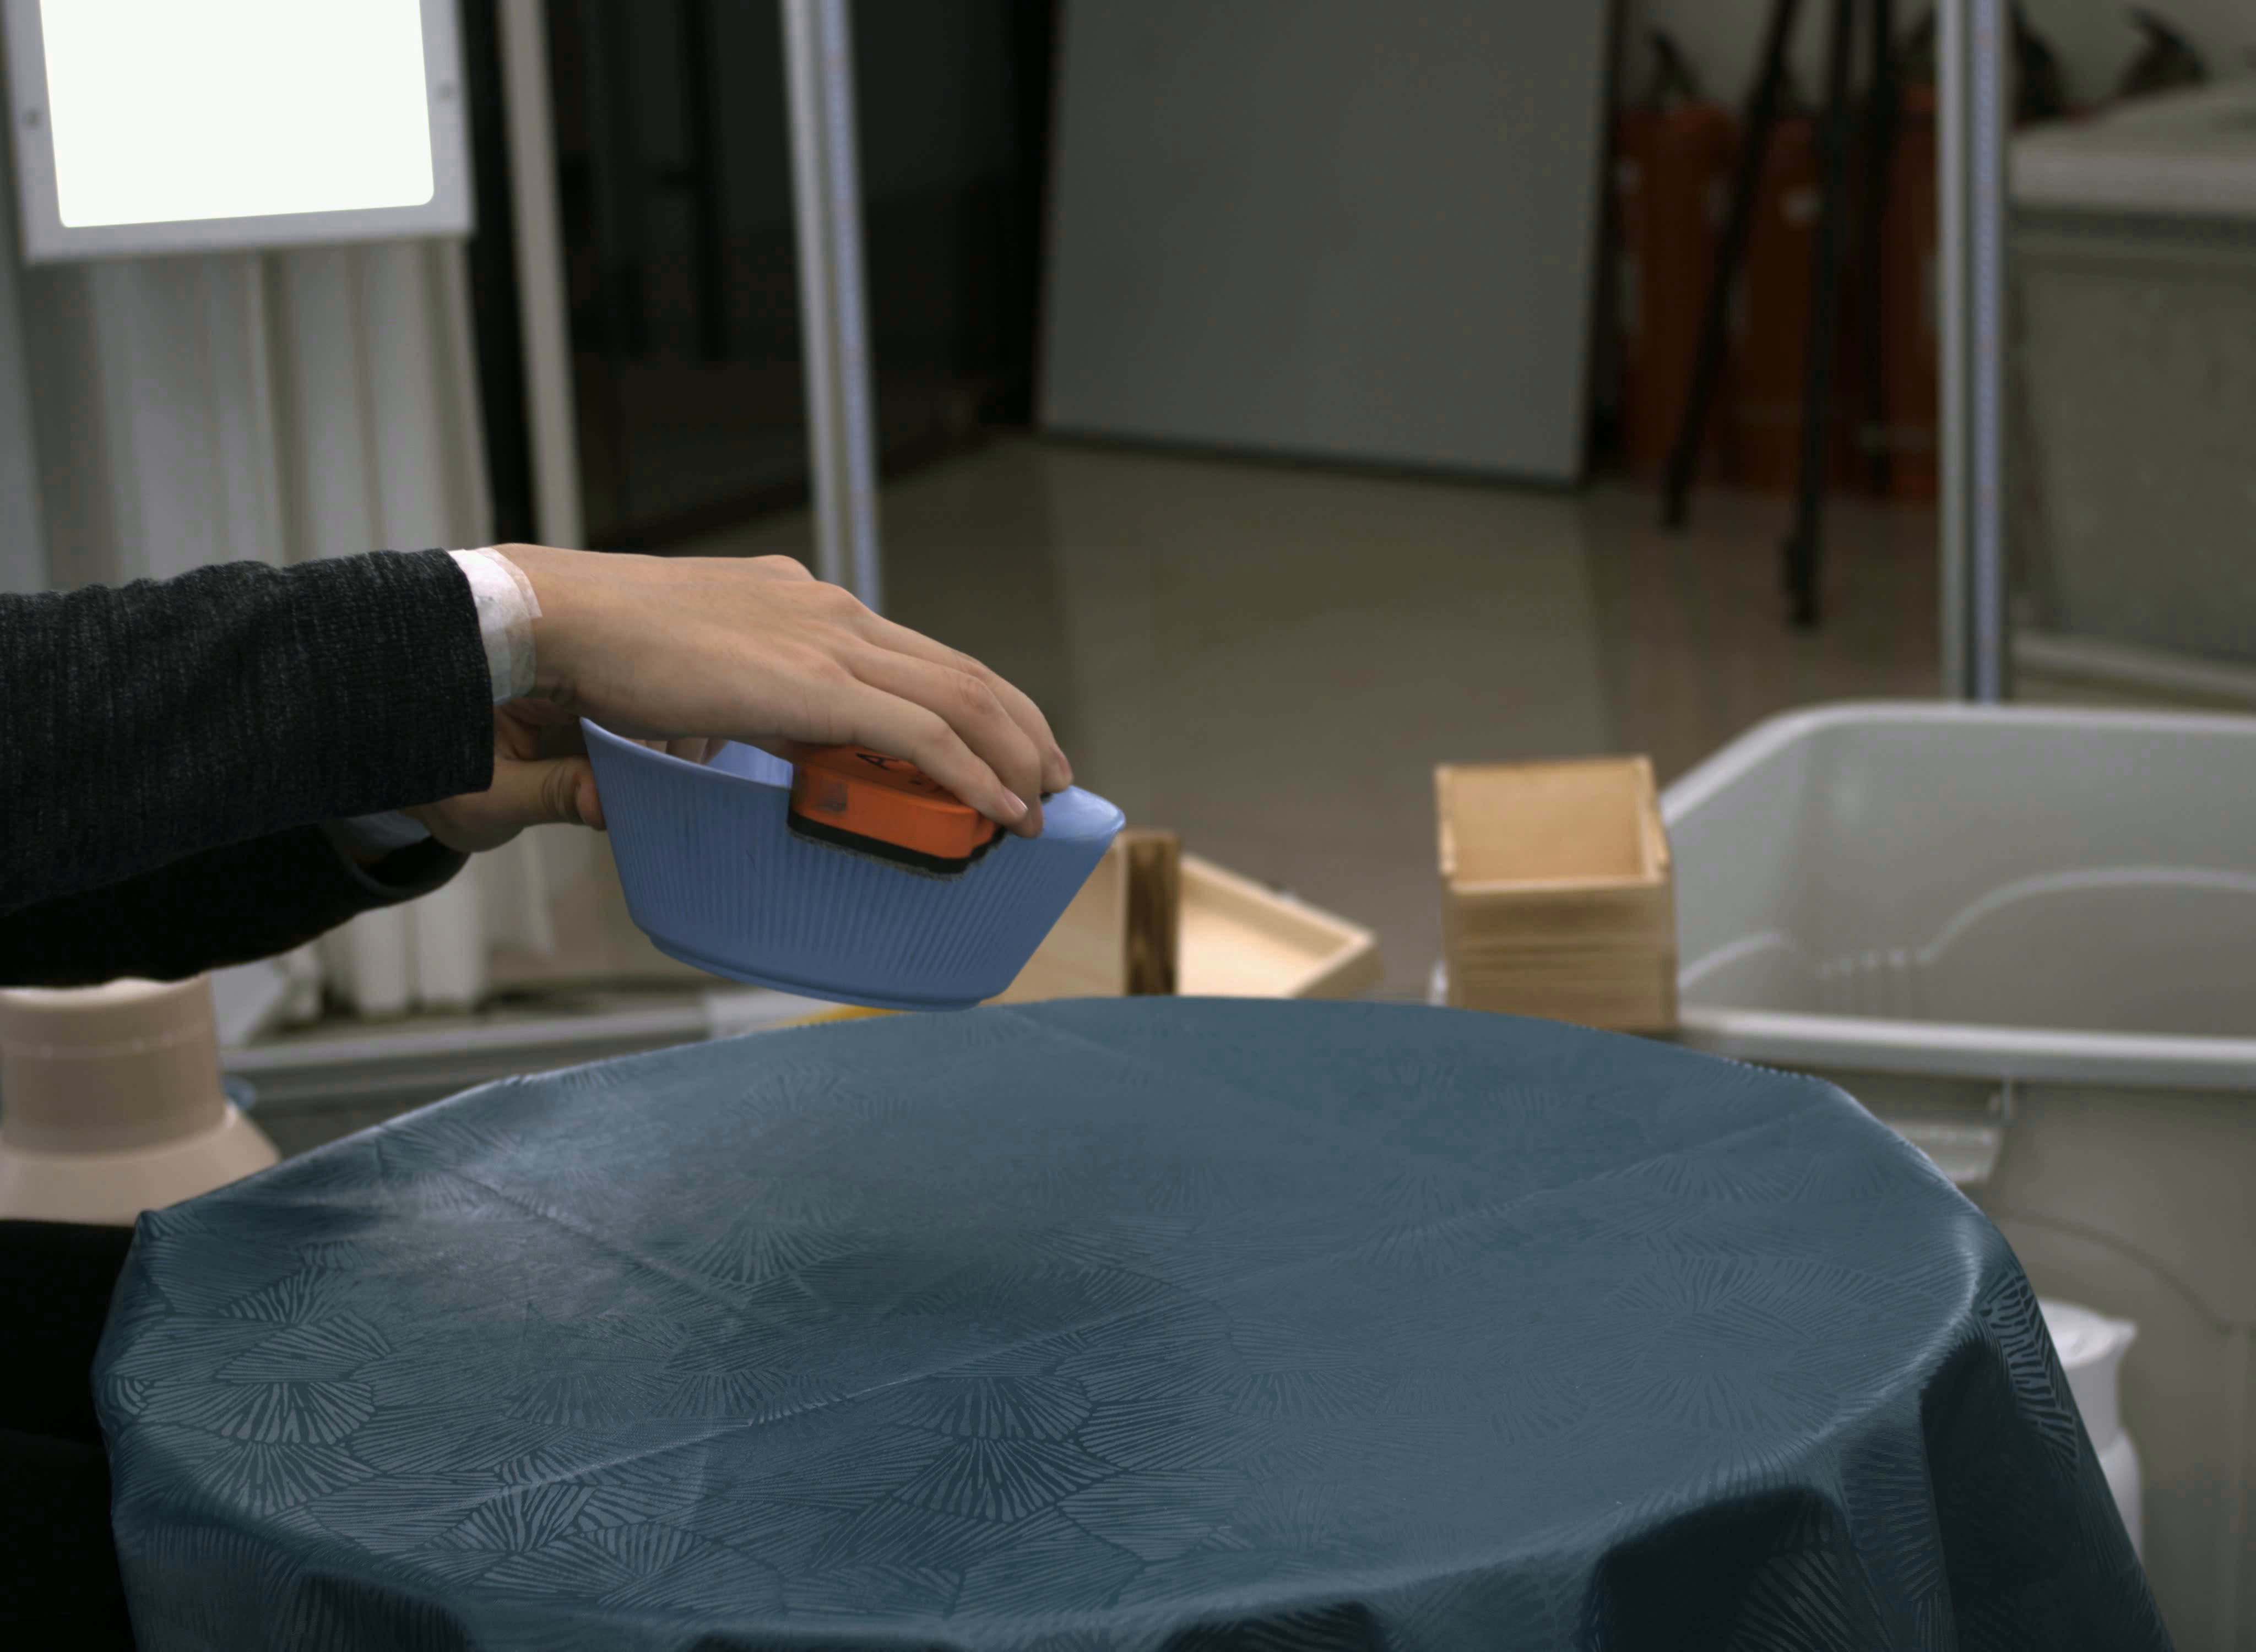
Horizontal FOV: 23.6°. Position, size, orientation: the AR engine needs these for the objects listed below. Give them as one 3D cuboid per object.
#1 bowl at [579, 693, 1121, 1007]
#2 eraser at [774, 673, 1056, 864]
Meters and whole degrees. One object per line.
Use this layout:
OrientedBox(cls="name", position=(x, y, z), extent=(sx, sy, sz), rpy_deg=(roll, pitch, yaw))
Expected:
OrientedBox(cls="bowl", position=(-0.093, 0.010, 1.698), extent=(0.174, 0.071, 0.176), rpy_deg=(12, 6, -2))
OrientedBox(cls="eraser", position=(-0.062, -0.018, 1.611), extent=(0.059, 0.023, 0.107), rpy_deg=(17, 19, 12))
